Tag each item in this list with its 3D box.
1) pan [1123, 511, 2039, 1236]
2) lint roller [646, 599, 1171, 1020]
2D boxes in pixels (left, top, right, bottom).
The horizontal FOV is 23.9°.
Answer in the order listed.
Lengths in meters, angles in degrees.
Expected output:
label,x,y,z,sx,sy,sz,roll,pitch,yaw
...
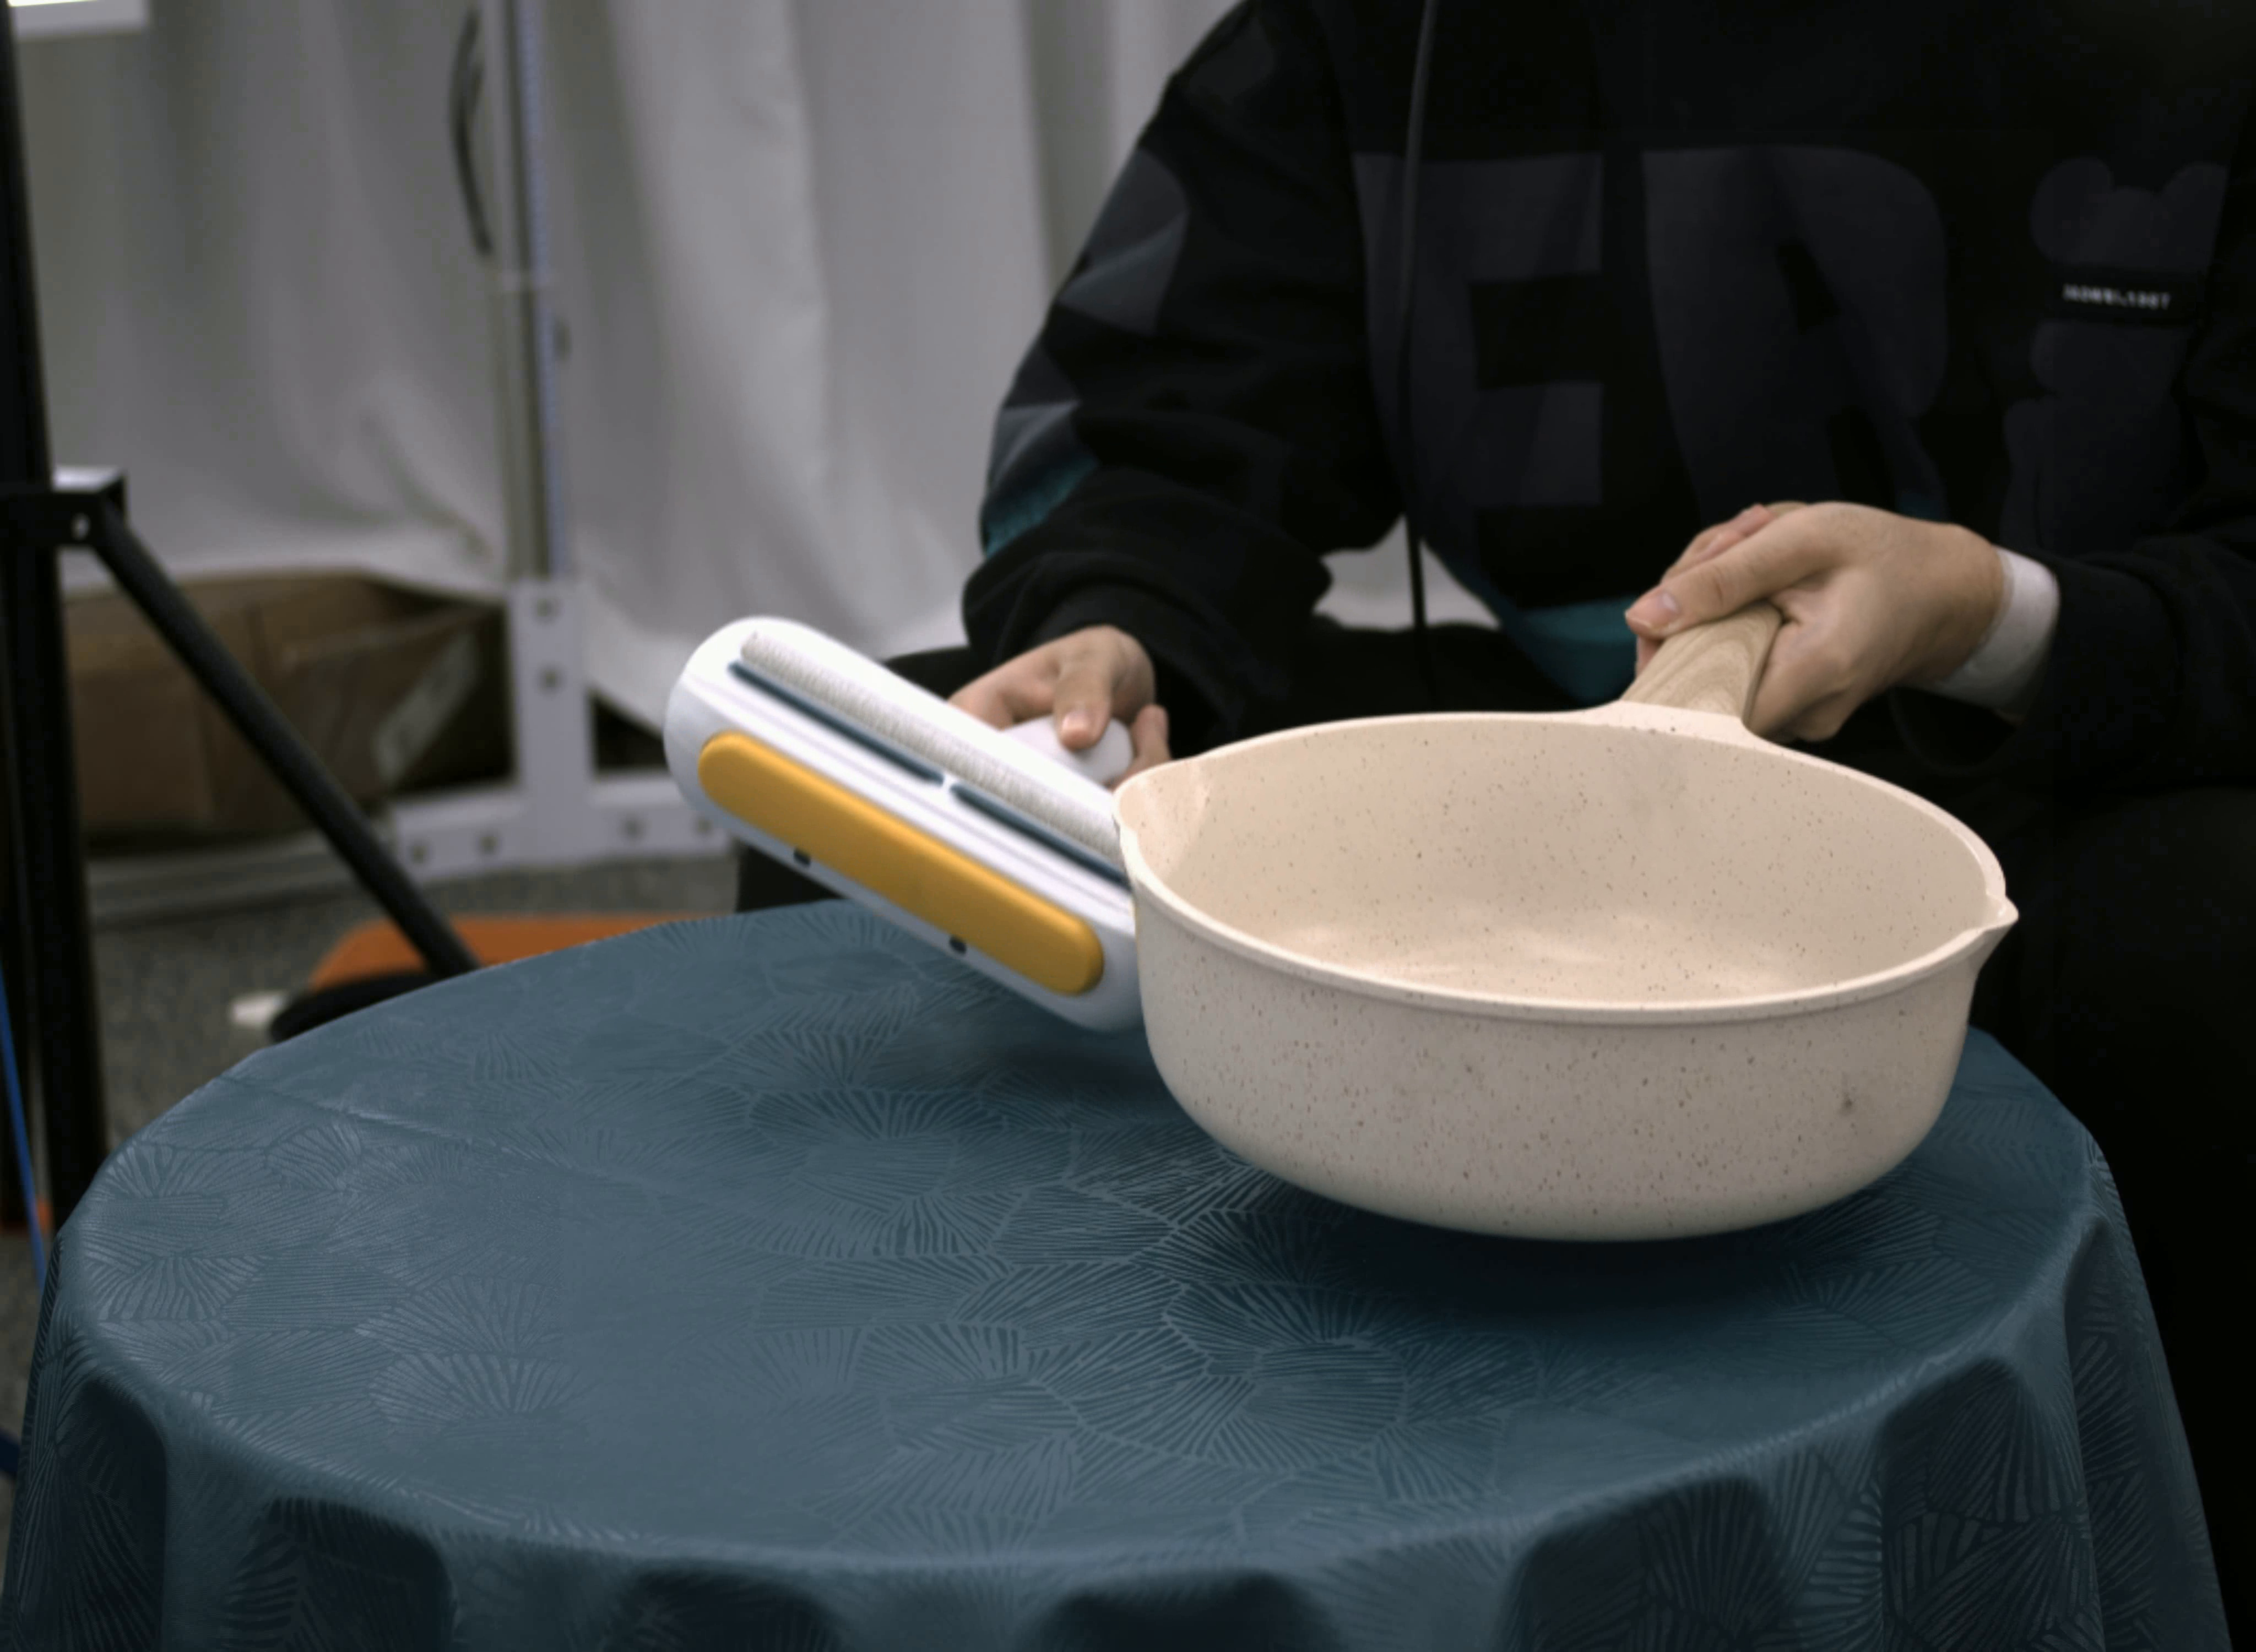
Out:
label,x,y,z,sx,sy,sz,roll,pitch,yaw
pan,0.154,0.009,1.589,0.266,0.102,0.430,6,19,18
lint roller,-0.039,-0.016,1.718,0.195,0.074,0.189,26,28,20
